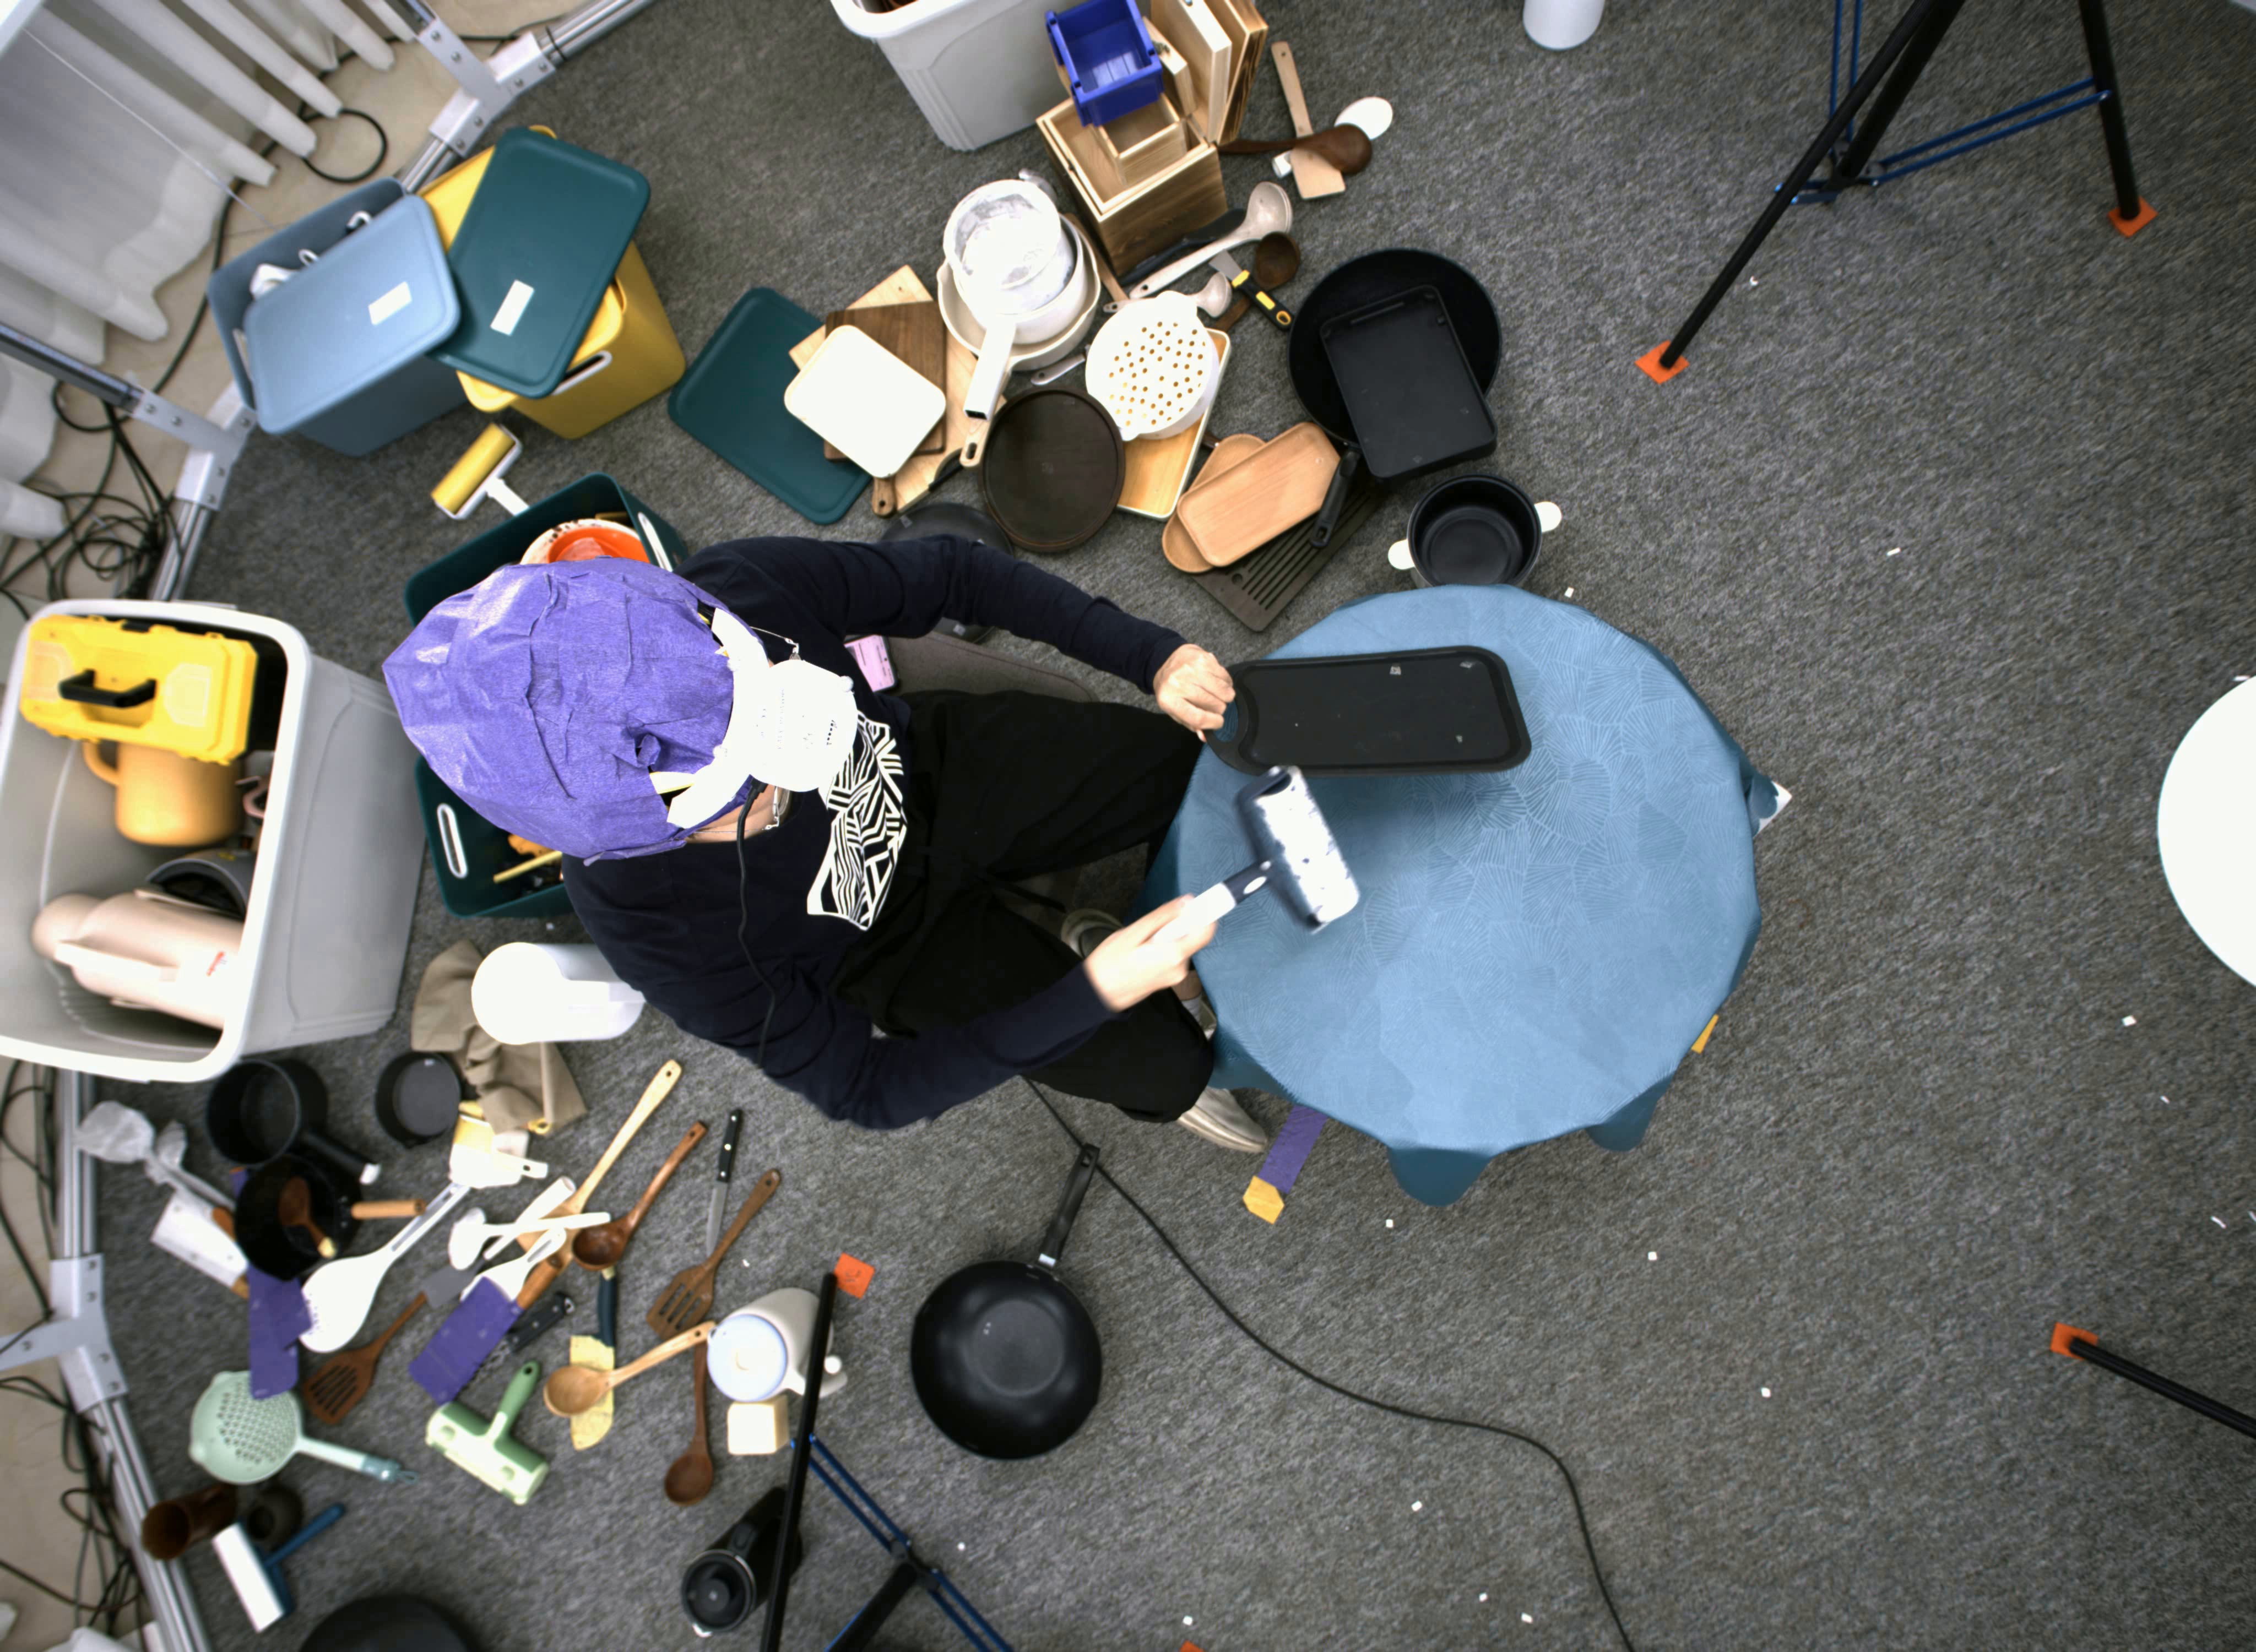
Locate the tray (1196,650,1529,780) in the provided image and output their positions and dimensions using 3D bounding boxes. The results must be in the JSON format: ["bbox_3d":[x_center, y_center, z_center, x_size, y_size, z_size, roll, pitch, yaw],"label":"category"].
[{"bbox_3d":[0.232,-0.118,1.392,0.326,0.010,0.205,-1,43,4],"label":"tray"}]

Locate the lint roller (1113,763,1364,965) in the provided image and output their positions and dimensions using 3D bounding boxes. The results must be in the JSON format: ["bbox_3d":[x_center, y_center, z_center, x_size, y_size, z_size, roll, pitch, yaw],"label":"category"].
[{"bbox_3d":[0.096,0.068,1.340,0.247,0.049,0.179,-33,123,1],"label":"lint roller"}]
